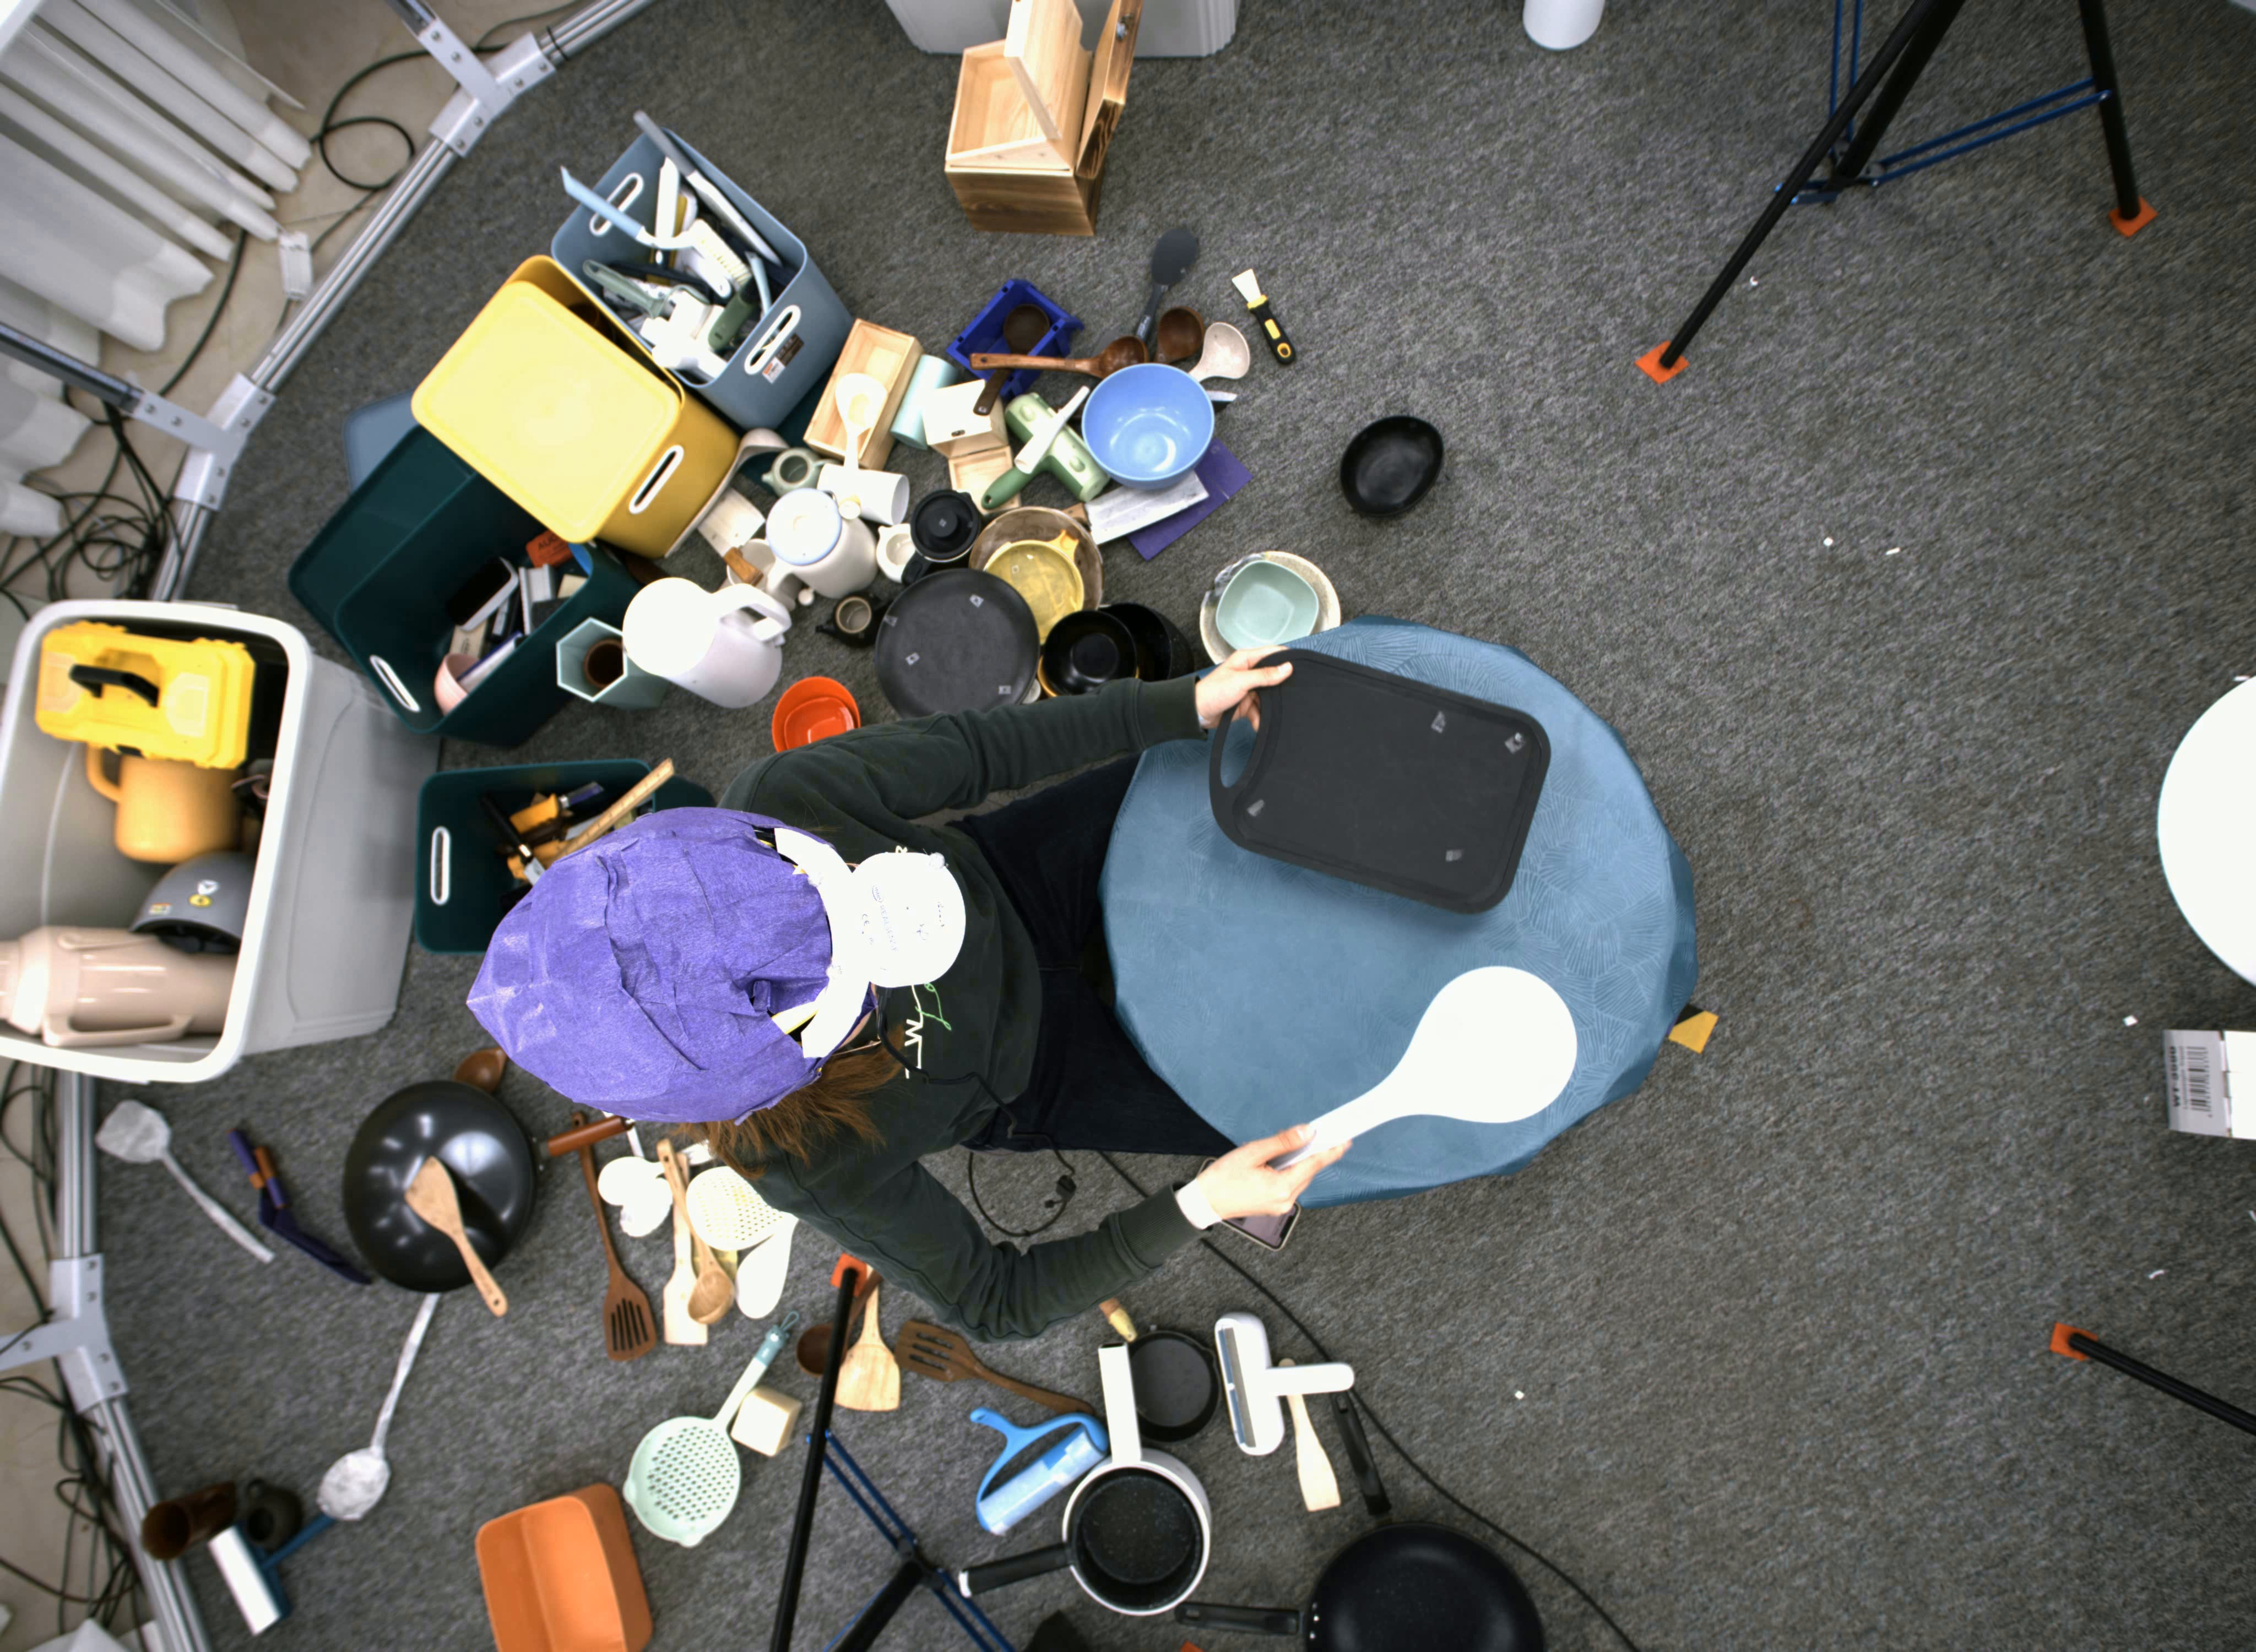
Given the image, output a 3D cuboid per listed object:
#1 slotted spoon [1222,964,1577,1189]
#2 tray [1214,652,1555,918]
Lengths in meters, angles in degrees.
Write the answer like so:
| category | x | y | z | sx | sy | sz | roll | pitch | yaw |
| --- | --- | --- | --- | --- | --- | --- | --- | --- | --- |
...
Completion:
| category | x | y | z | sx | sy | sz | roll | pitch | yaw |
| --- | --- | --- | --- | --- | --- | --- | --- | --- | --- |
| slotted spoon | 0.242 | 0.244 | 1.262 | 0.352 | 0.046 | 0.134 | -28 | 65 | 9 |
| tray | 0.248 | -0.044 | 1.371 | 0.326 | 0.010 | 0.212 | 17 | 96 | 5 |
